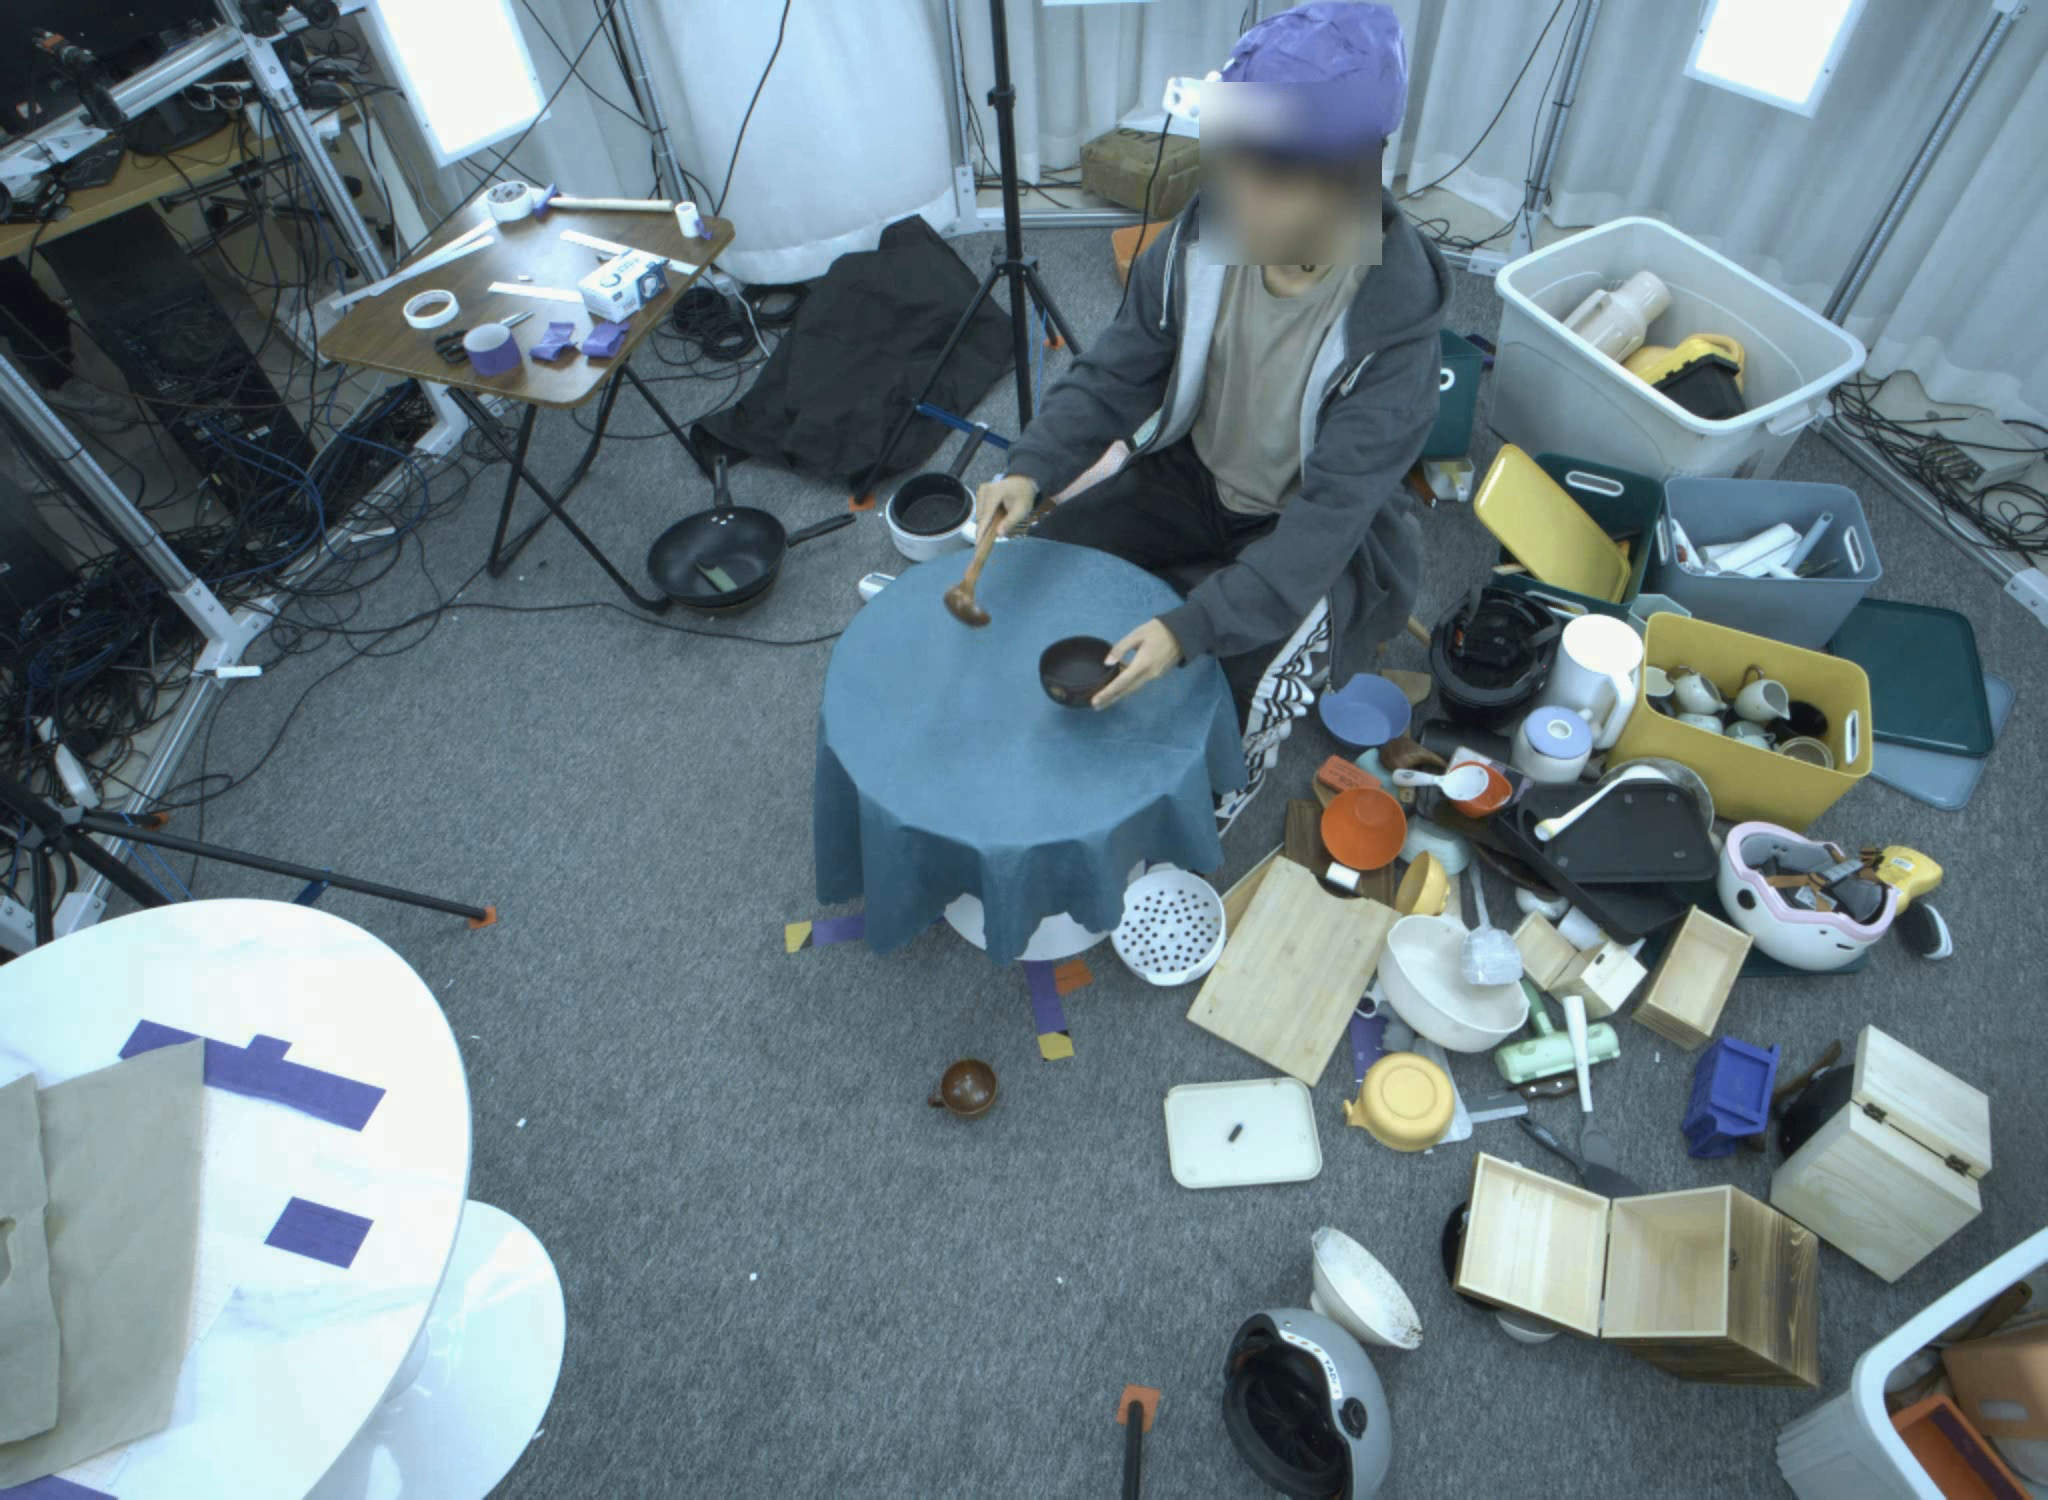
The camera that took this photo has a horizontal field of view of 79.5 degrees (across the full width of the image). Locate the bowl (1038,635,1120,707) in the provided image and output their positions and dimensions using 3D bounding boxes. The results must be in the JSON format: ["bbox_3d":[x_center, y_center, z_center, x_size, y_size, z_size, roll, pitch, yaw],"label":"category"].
[{"bbox_3d":[0.080,-0.105,1.768,0.118,0.071,0.117,-3,42,4],"label":"bowl"}]

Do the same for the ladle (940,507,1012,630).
[{"bbox_3d":[-0.053,-0.280,1.791,0.075,0.083,0.273,-19,37,43],"label":"ladle"}]
